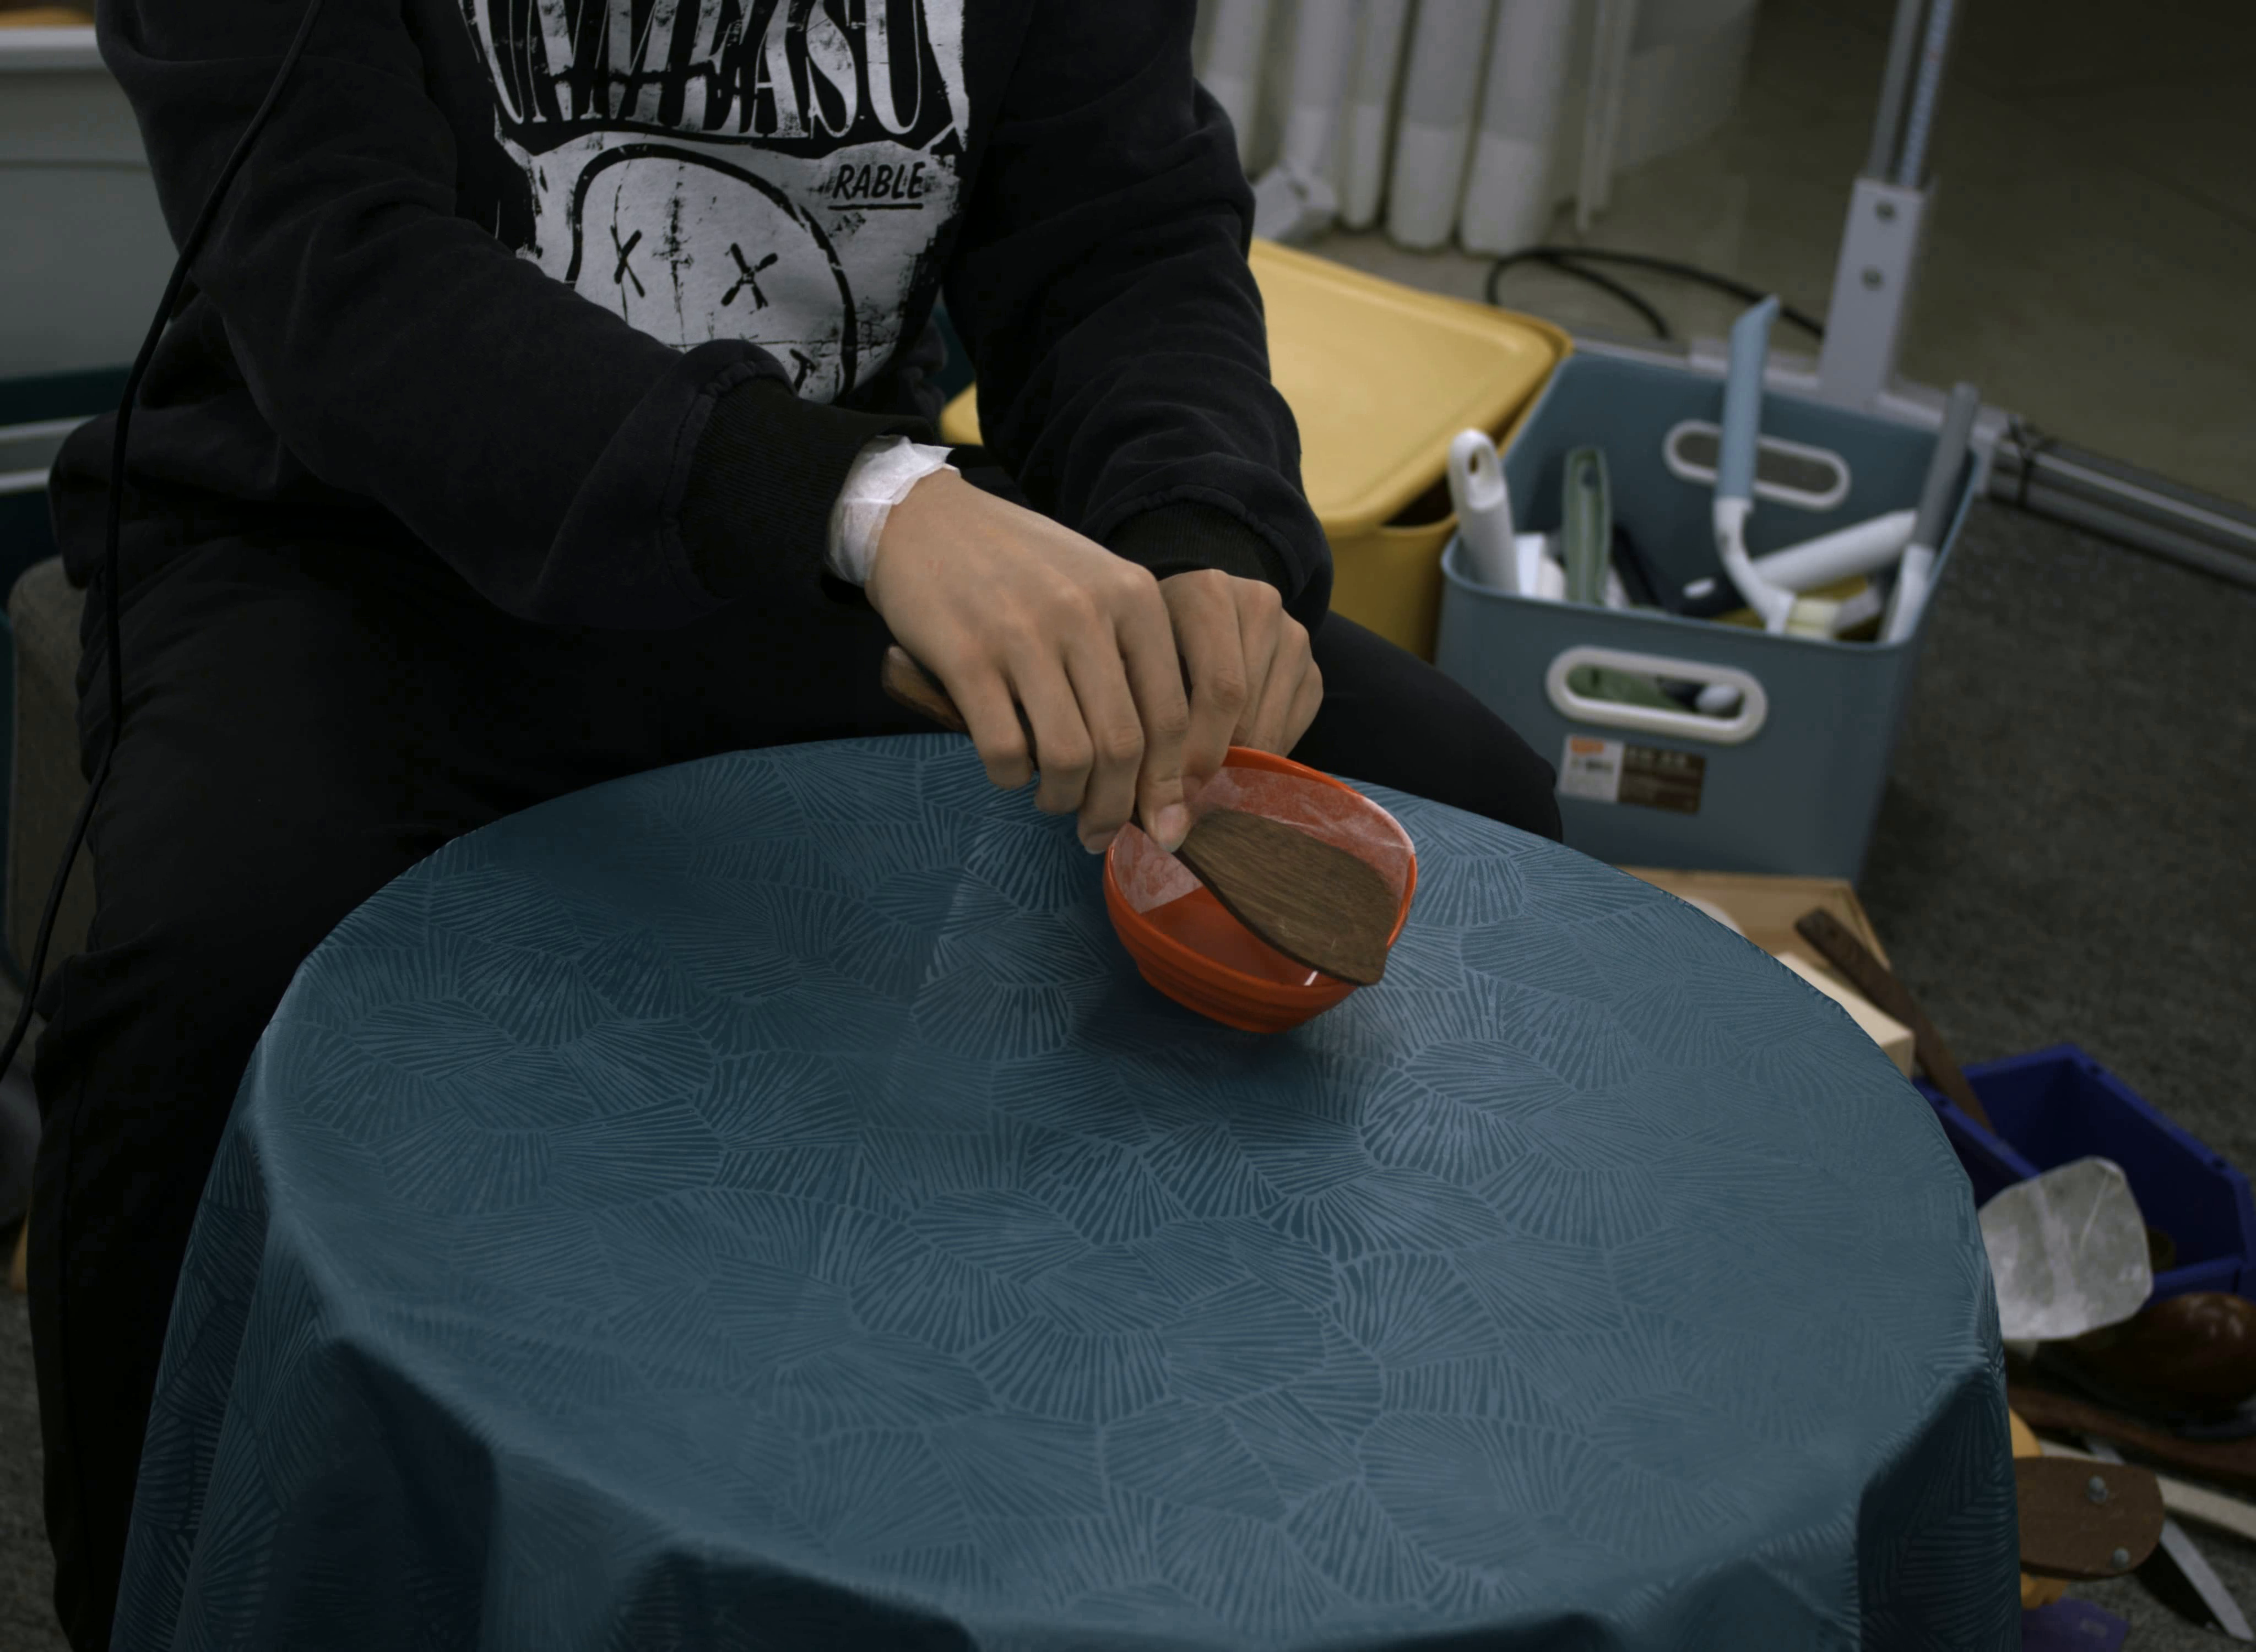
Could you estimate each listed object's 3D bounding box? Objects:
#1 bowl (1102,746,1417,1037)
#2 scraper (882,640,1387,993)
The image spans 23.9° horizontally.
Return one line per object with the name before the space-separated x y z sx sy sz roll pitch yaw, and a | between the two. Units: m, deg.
bowl | 0.043 0.031 1.914 0.118 0.051 0.120 7 48 -8
scraper | 0.003 -0.008 1.853 0.210 0.011 0.076 30 33 -18
